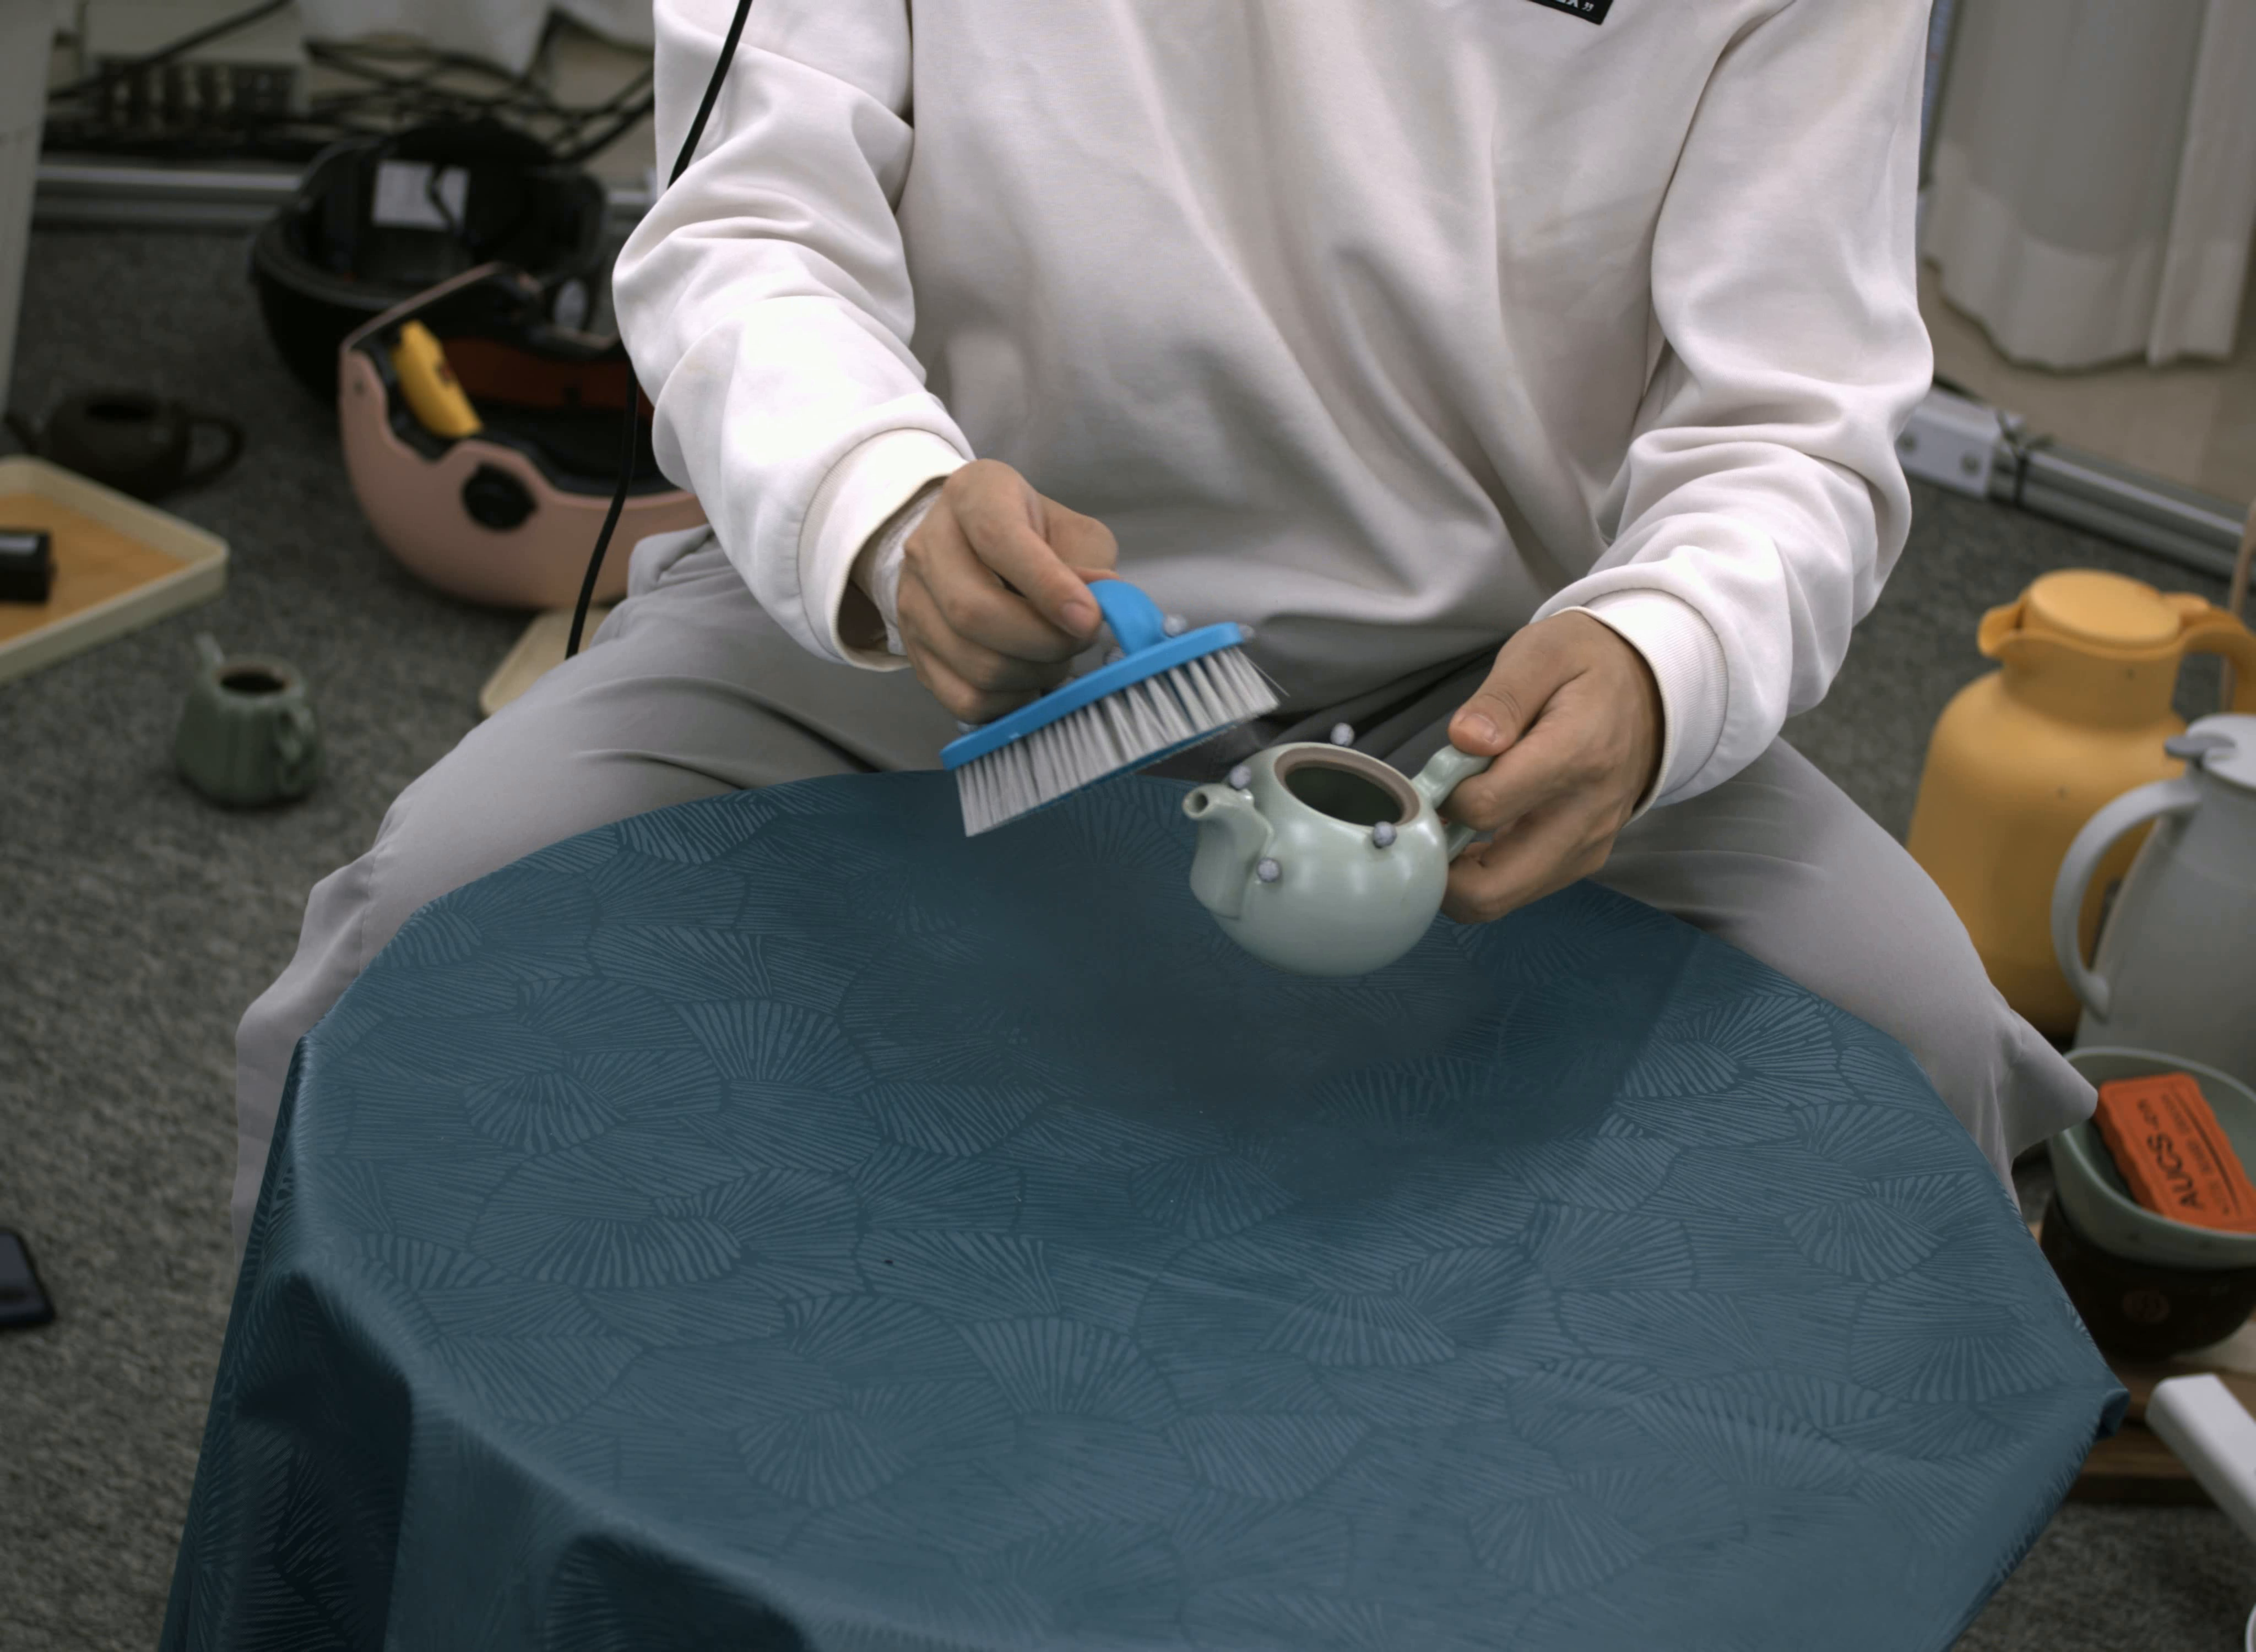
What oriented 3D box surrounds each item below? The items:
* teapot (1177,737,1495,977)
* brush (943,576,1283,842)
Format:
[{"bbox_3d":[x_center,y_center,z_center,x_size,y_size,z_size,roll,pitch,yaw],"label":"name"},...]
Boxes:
[{"bbox_3d":[0.067,0.010,1.841,0.143,0.074,0.089,-9,36,-36],"label":"teapot"},{"bbox_3d":[-0.013,-0.047,1.831,0.084,0.064,0.142,-28,1,-38],"label":"brush"}]
